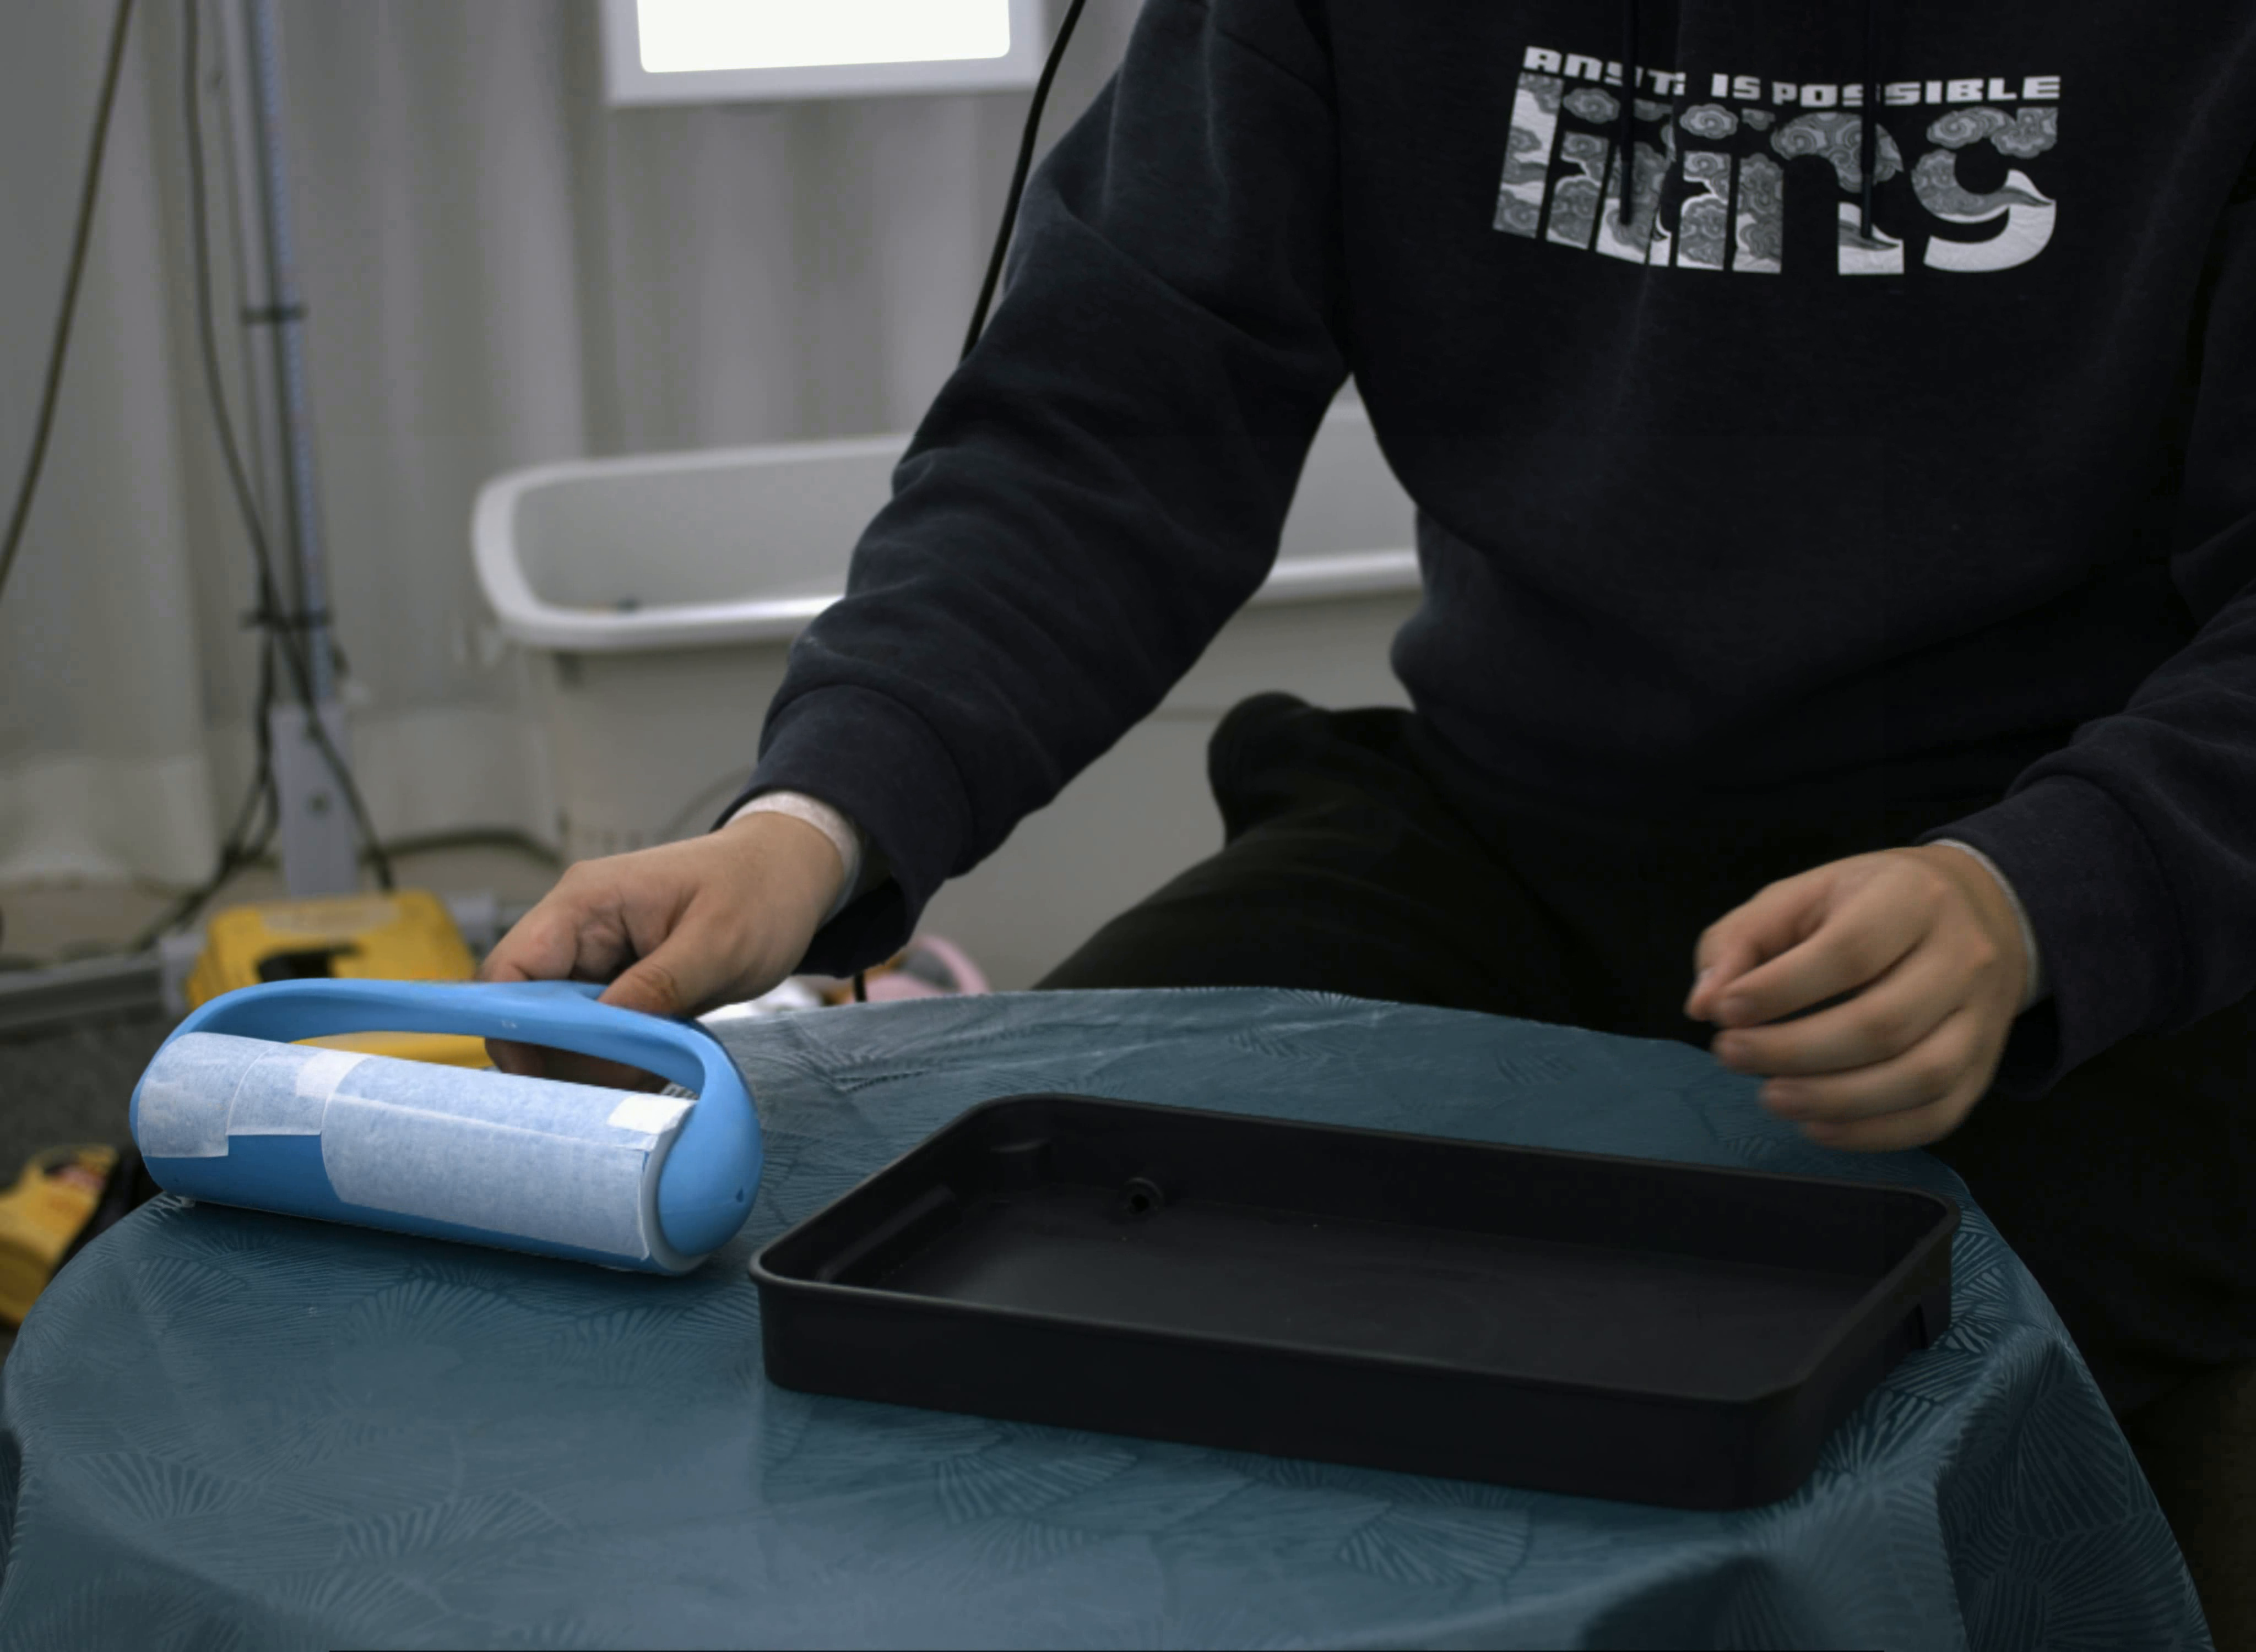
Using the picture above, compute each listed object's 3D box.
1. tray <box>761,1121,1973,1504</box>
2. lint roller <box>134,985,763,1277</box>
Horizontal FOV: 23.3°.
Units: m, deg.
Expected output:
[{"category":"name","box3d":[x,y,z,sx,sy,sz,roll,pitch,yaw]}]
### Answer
[{"category":"tray","box3d":[0.070,0.136,1.569,0.318,0.037,0.184,2,15,25]},{"category":"lint roller","box3d":[-0.187,0.083,1.749,0.229,0.067,0.181,3,19,28]}]
